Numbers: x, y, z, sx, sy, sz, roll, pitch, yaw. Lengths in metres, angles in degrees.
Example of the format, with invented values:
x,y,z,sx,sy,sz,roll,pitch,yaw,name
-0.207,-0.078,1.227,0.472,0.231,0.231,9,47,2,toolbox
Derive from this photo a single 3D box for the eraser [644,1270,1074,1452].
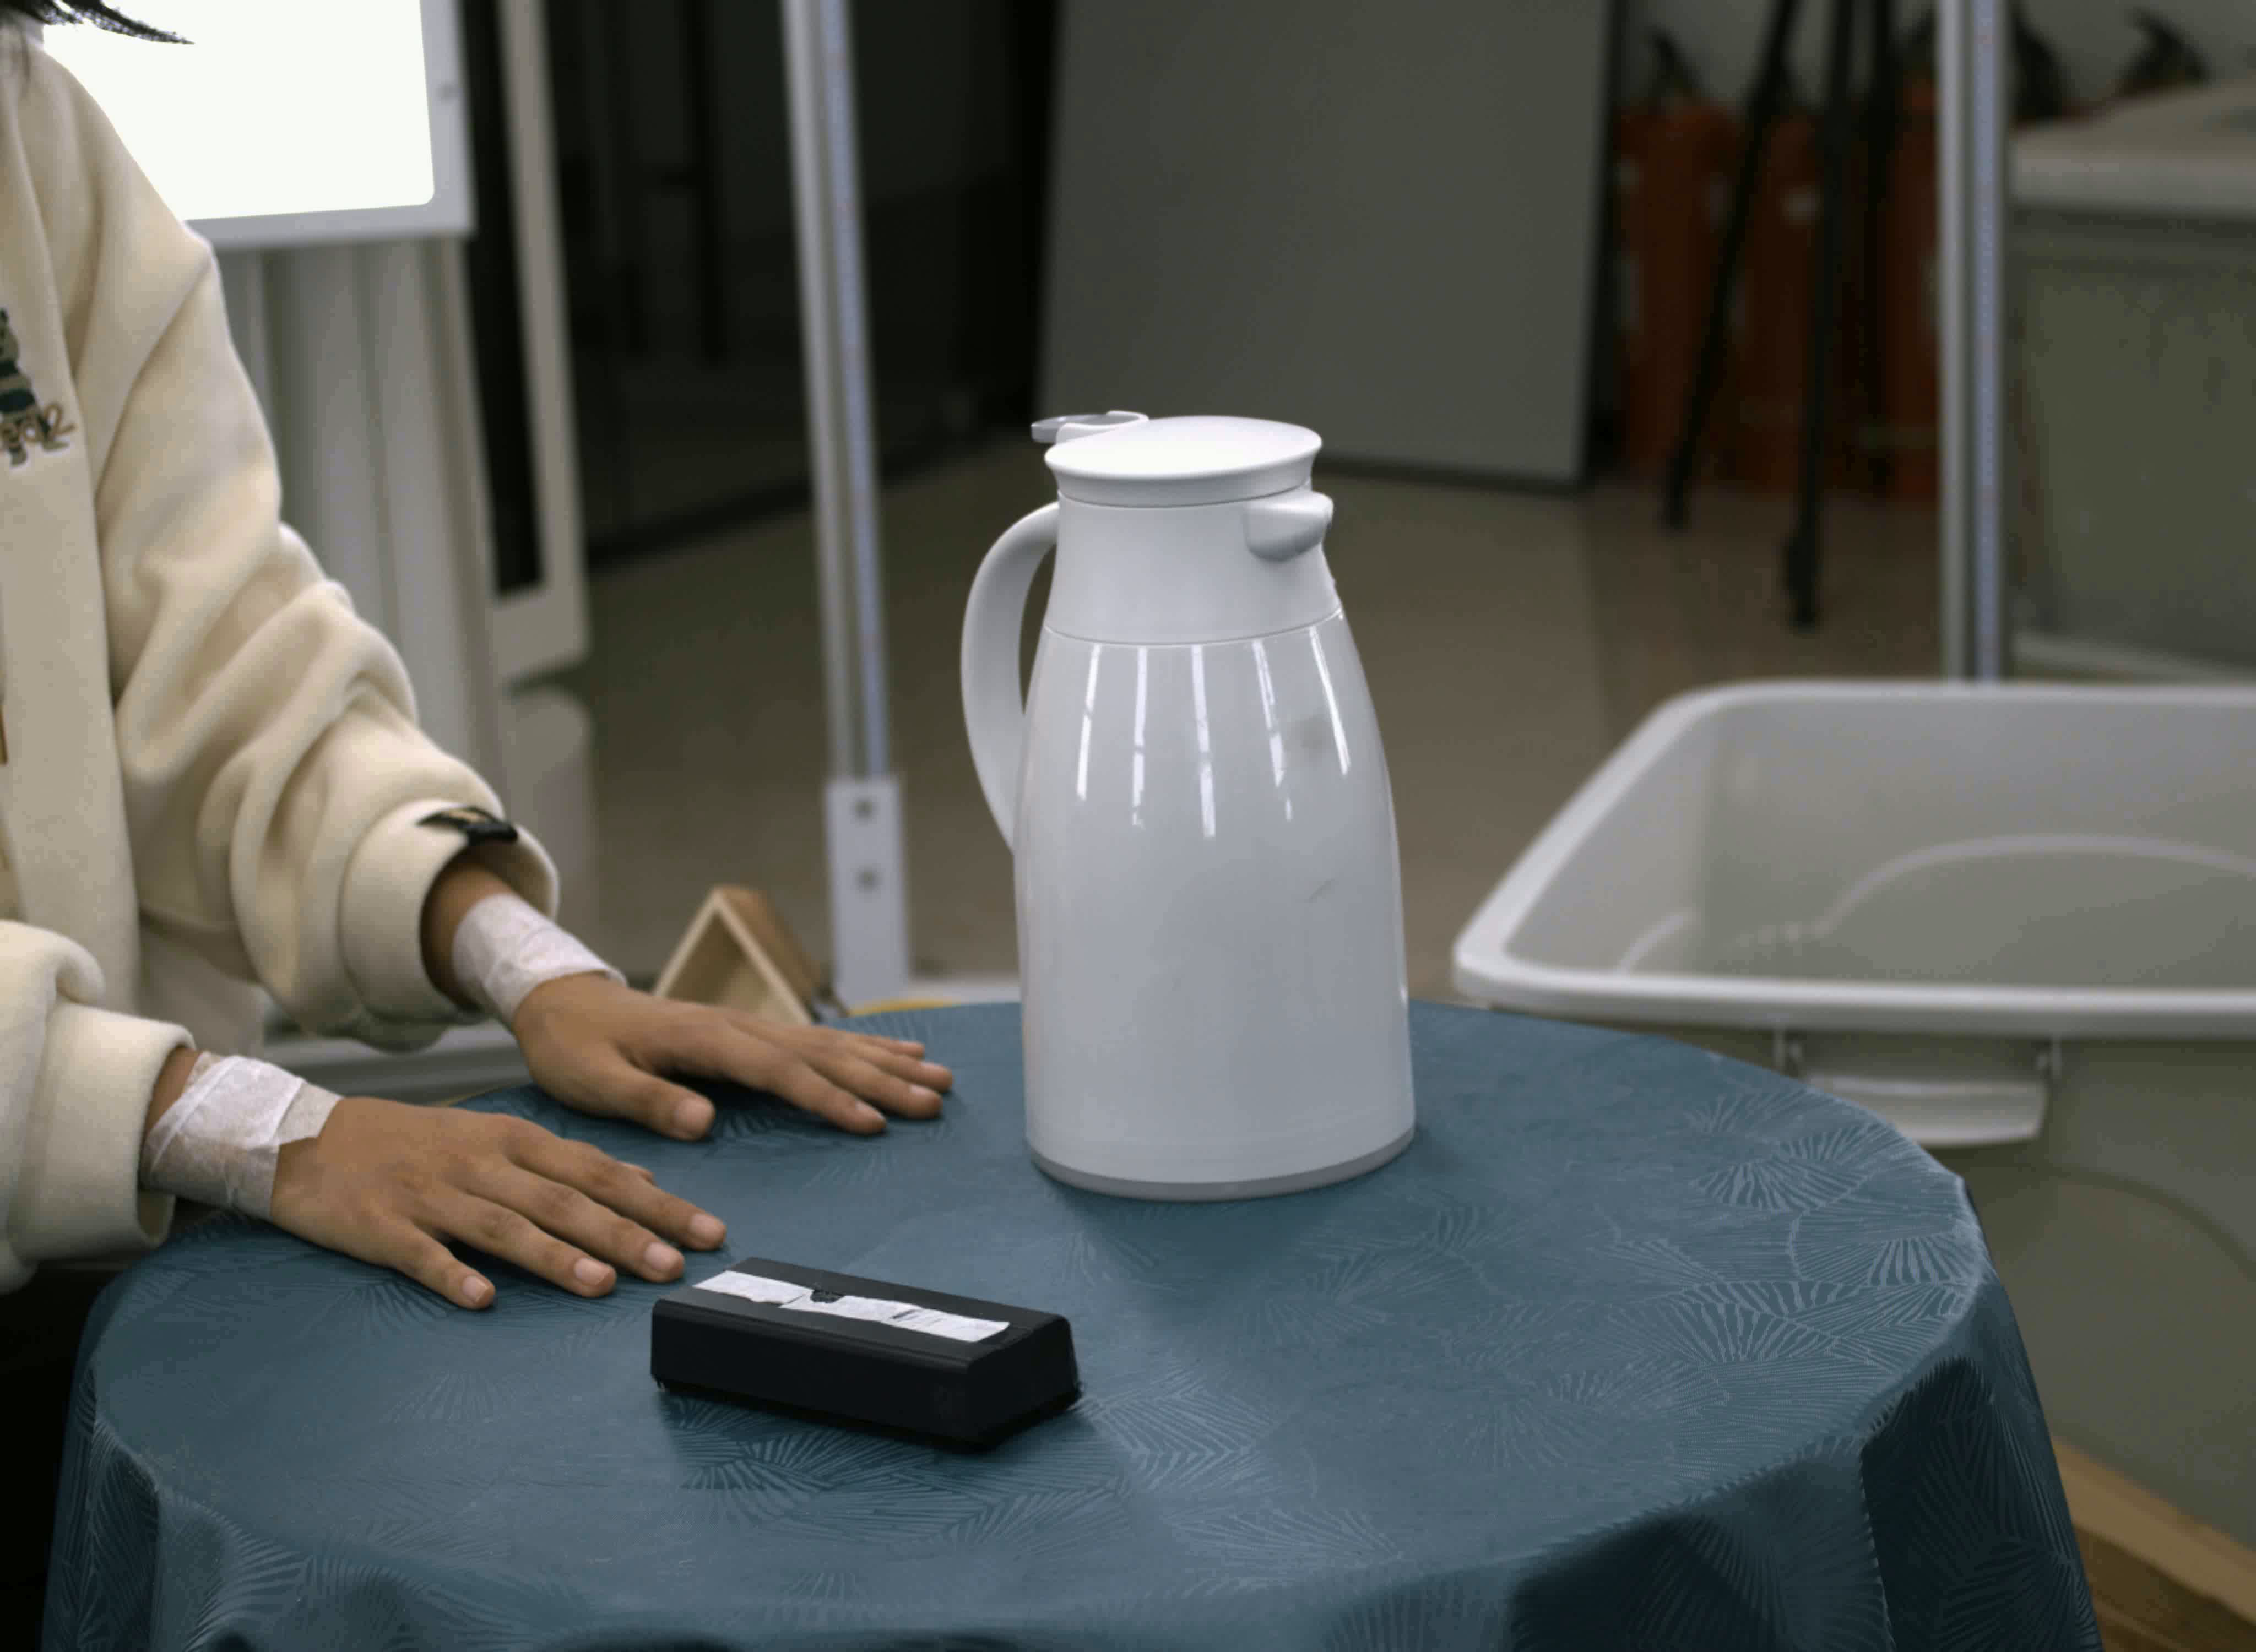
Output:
x,y,z,sx,sy,sz,roll,pitch,yaw,name
-0.078,0.156,1.589,0.126,0.031,0.052,6,14,36,eraser

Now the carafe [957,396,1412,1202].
x,y,z,sx,sy,sz,roll,pitch,yaw,name
0.009,-0.016,1.800,0.169,0.251,0.130,8,18,44,carafe
